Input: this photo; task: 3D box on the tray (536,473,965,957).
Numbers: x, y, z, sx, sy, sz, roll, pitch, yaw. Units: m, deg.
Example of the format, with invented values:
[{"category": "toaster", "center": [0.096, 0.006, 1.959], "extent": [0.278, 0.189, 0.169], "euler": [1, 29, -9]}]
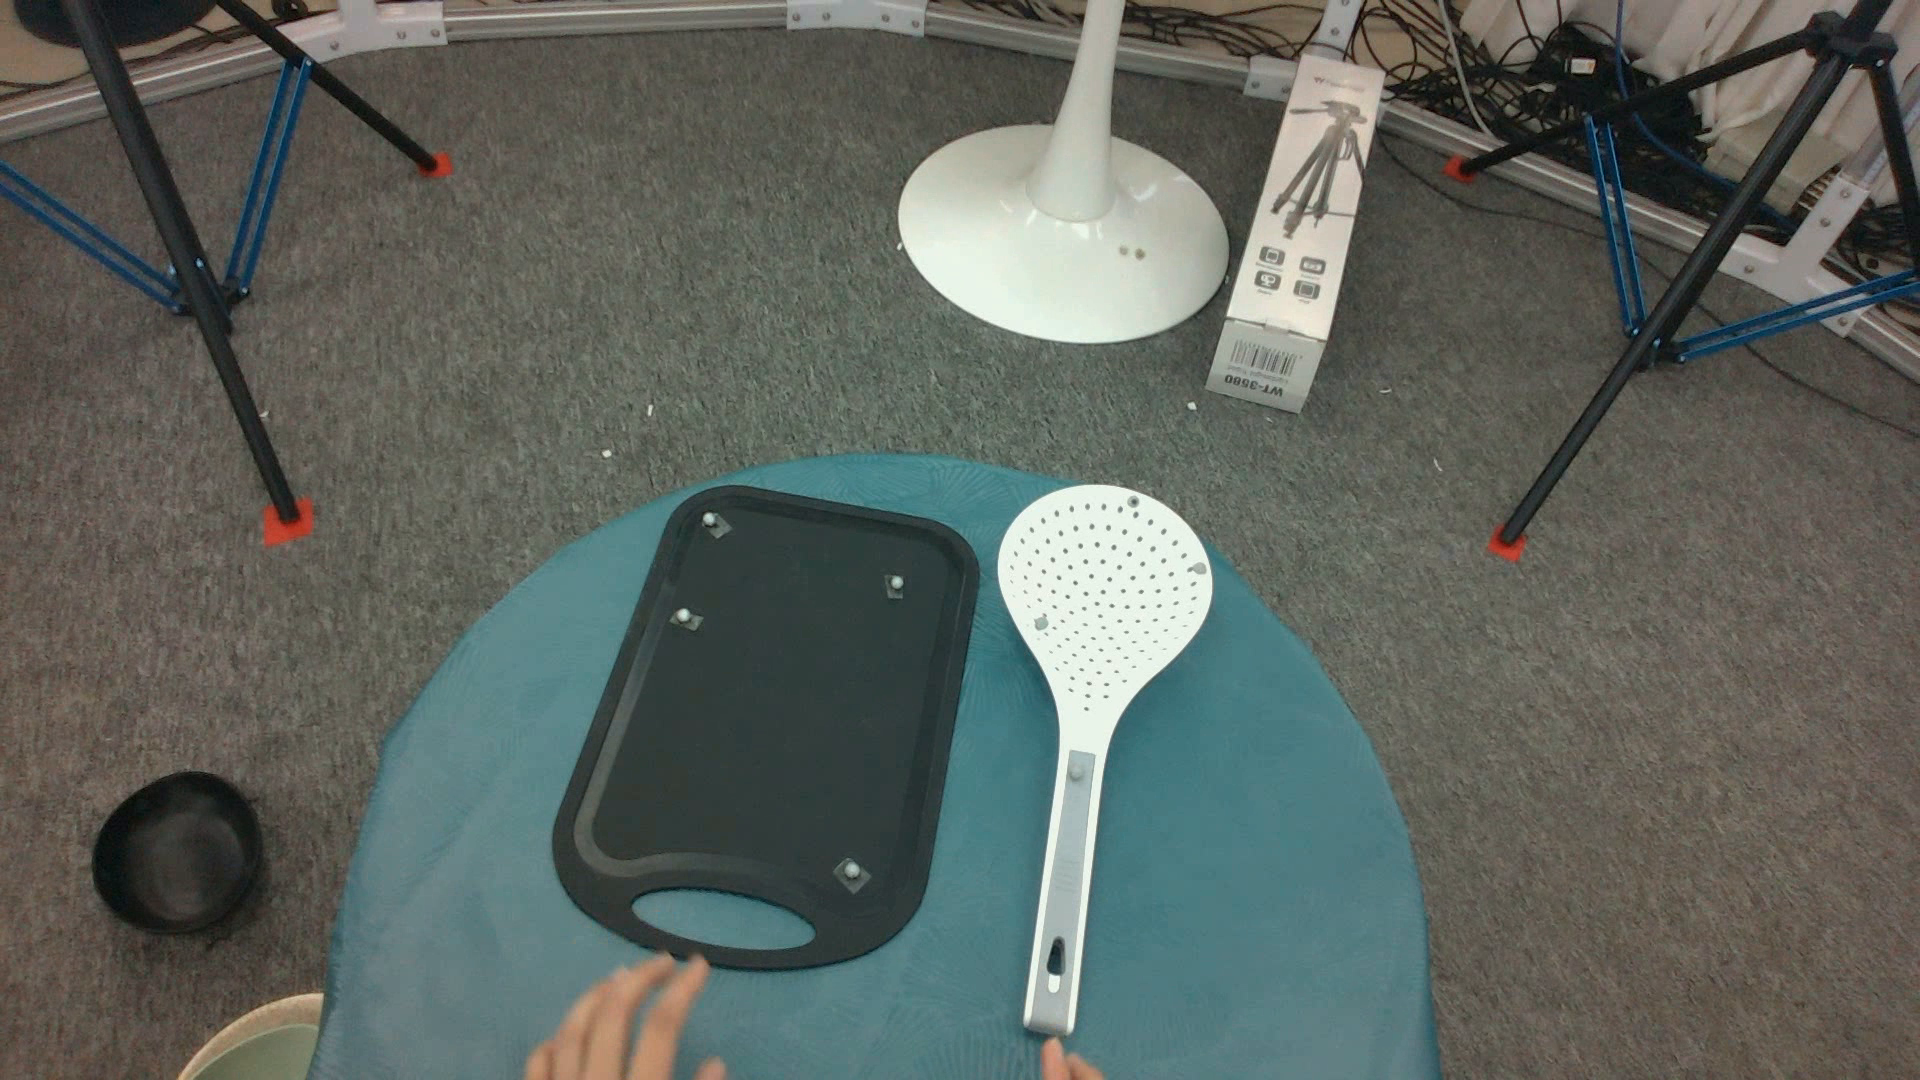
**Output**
[{"category": "tray", "center": [-0.116, 0.091, 0.825], "extent": [0.211, 0.010, 0.327], "euler": [10, 51, 0]}]

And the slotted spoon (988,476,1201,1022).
[{"category": "slotted spoon", "center": [0.066, 0.107, 0.815], "extent": [0.136, 0.045, 0.351], "euler": [10, 51, 3]}]
